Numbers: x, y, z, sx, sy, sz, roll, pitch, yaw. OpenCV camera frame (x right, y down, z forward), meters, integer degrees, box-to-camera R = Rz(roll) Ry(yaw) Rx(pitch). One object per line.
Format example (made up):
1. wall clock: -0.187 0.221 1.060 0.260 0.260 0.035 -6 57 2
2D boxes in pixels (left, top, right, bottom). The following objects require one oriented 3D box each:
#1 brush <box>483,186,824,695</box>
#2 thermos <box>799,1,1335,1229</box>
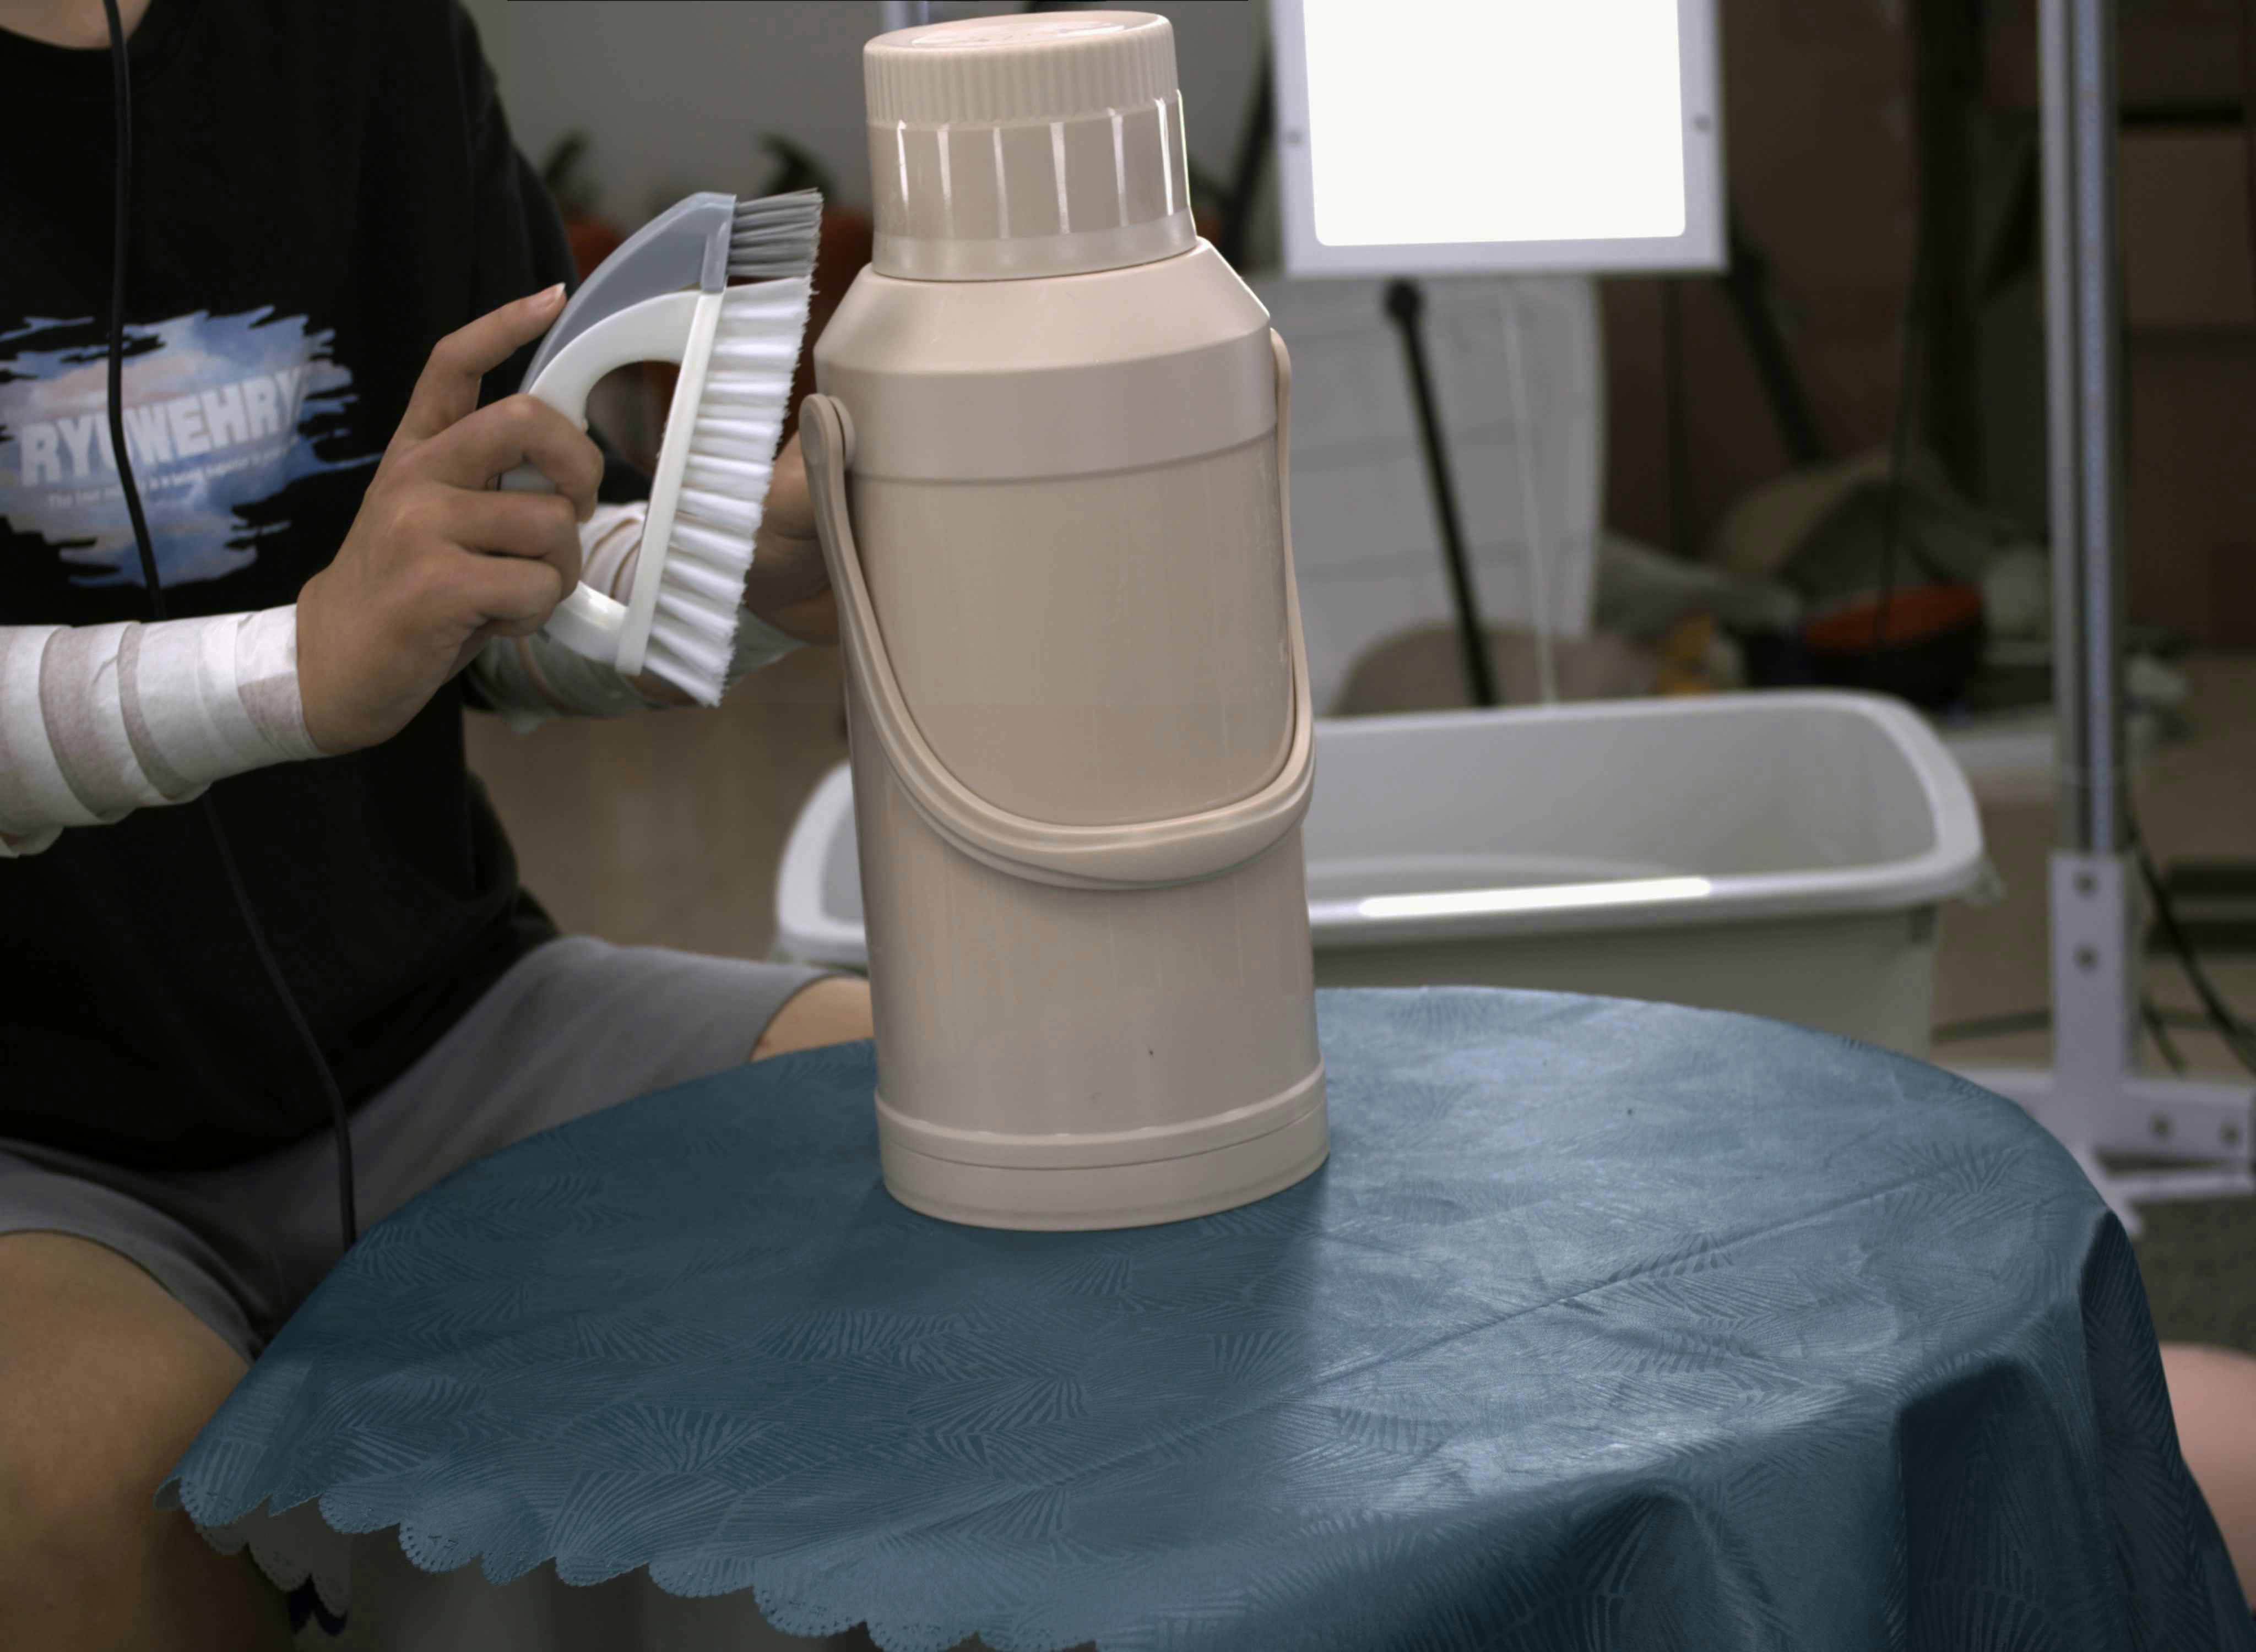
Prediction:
1. brush: -0.161 -0.137 1.838 0.093 0.177 0.061 13 22 -9
2. thermos: -0.026 -0.077 1.902 0.172 0.408 0.210 -12 15 -23
